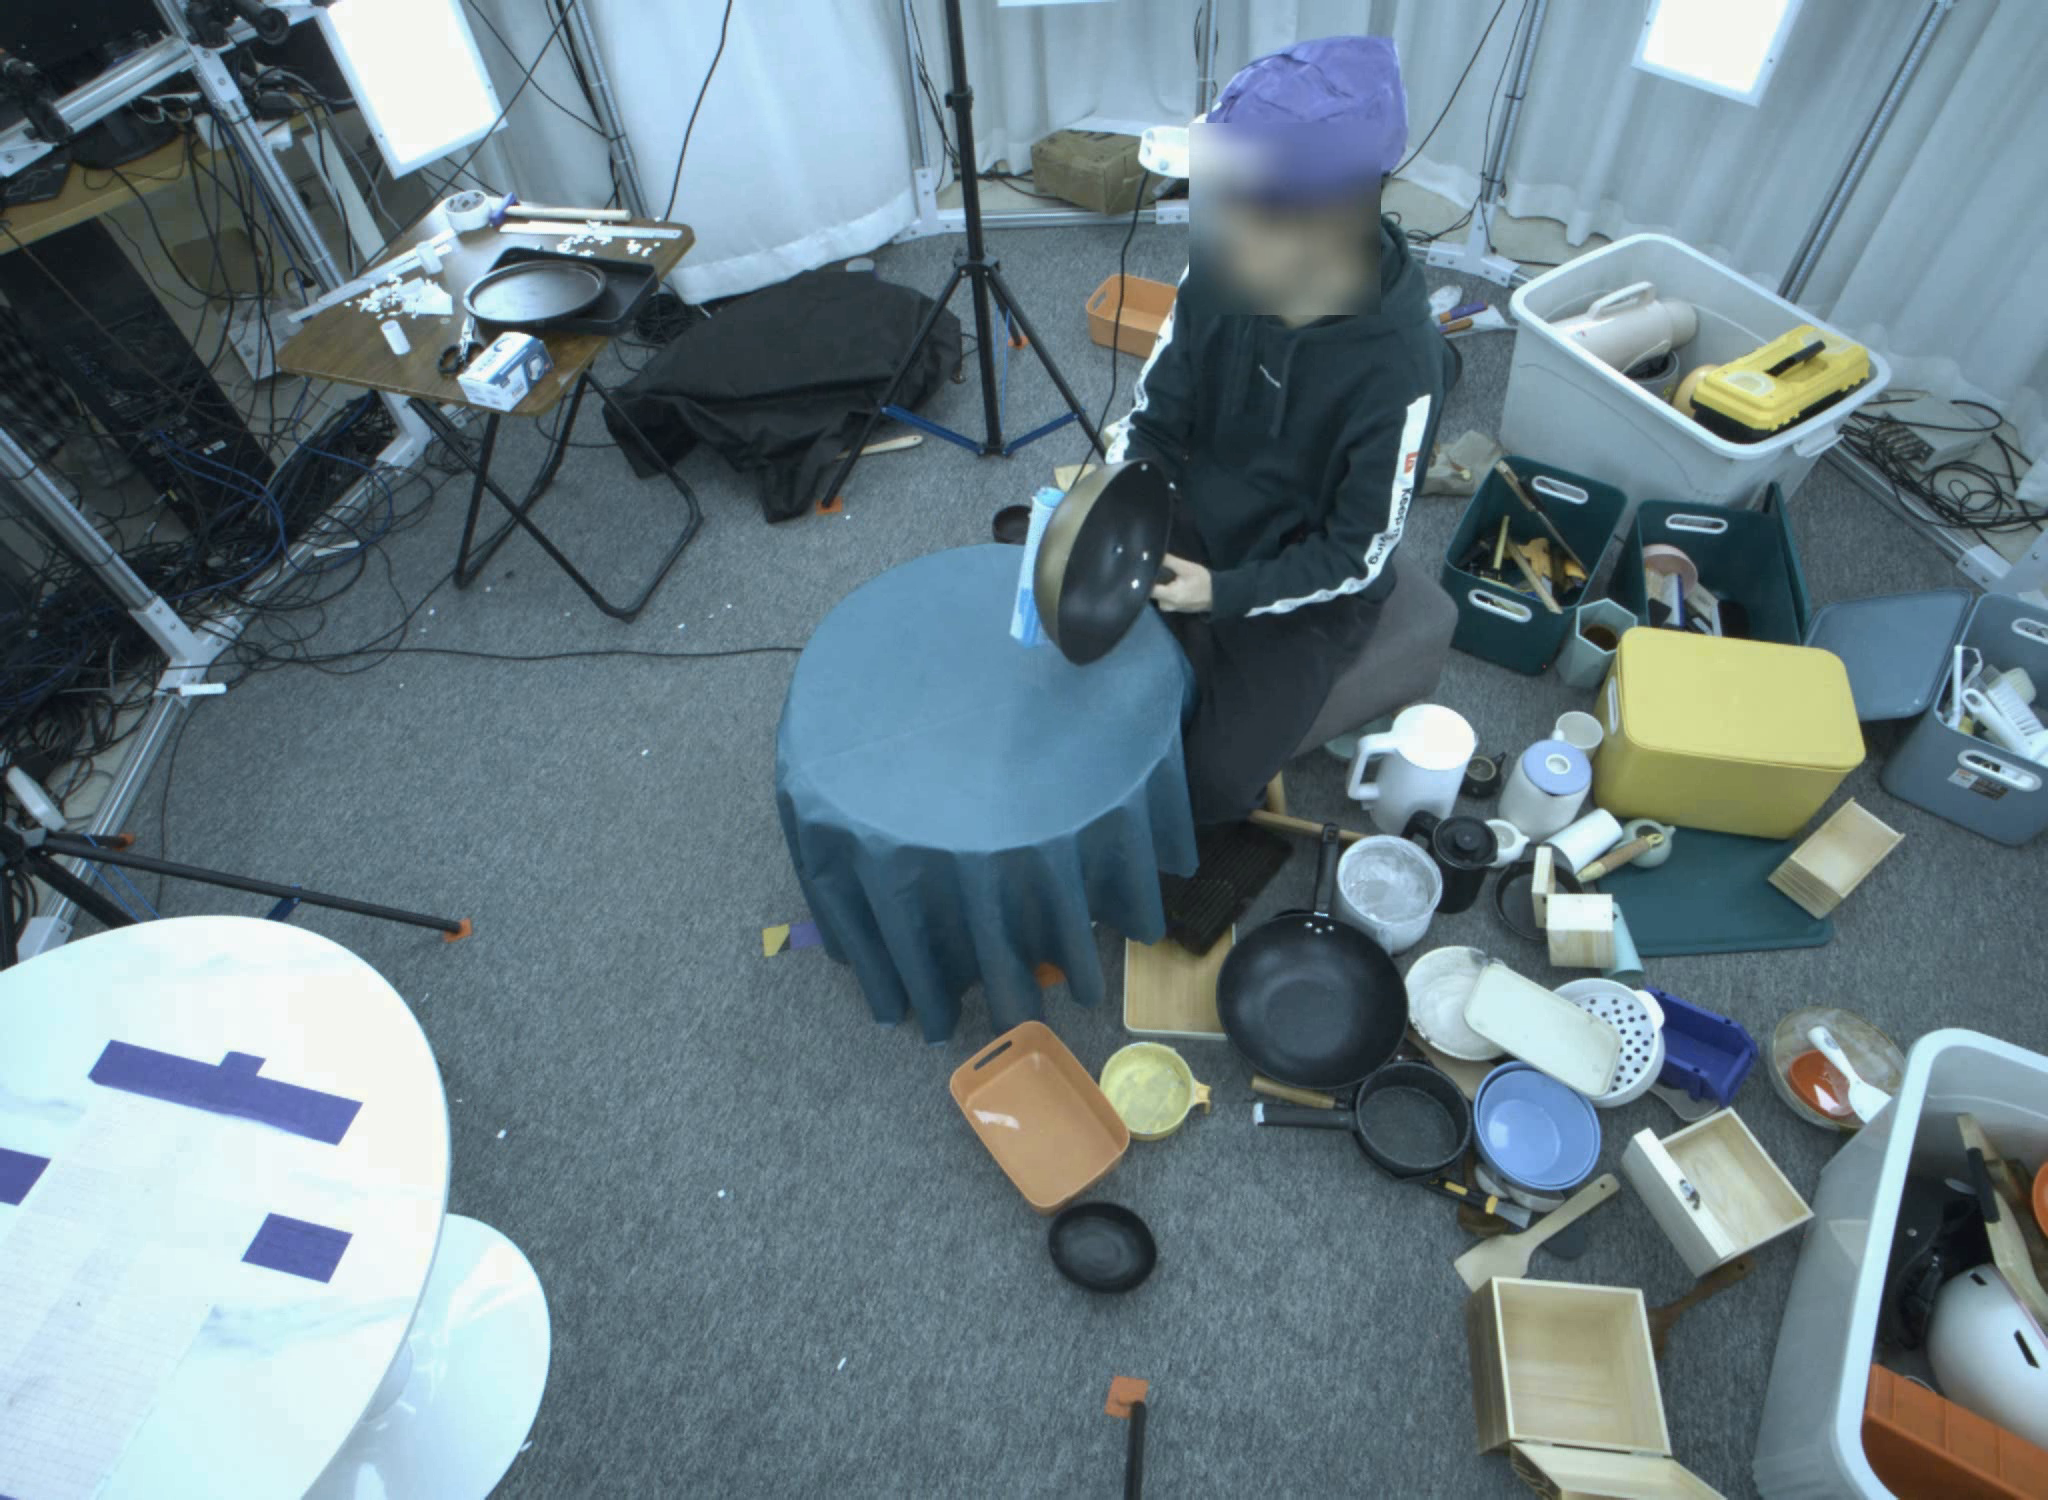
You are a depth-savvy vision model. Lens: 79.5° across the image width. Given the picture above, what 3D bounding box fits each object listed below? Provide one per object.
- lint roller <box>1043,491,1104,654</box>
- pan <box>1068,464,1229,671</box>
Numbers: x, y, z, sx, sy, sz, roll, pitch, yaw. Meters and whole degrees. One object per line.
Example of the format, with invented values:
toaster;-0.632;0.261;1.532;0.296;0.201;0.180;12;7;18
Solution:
lint roller;0.090;-0.256;1.710;0.067;0.230;0.181;18;25;15
pan;0.180;-0.251;1.696;0.085;0.471;0.288;26;102;24
